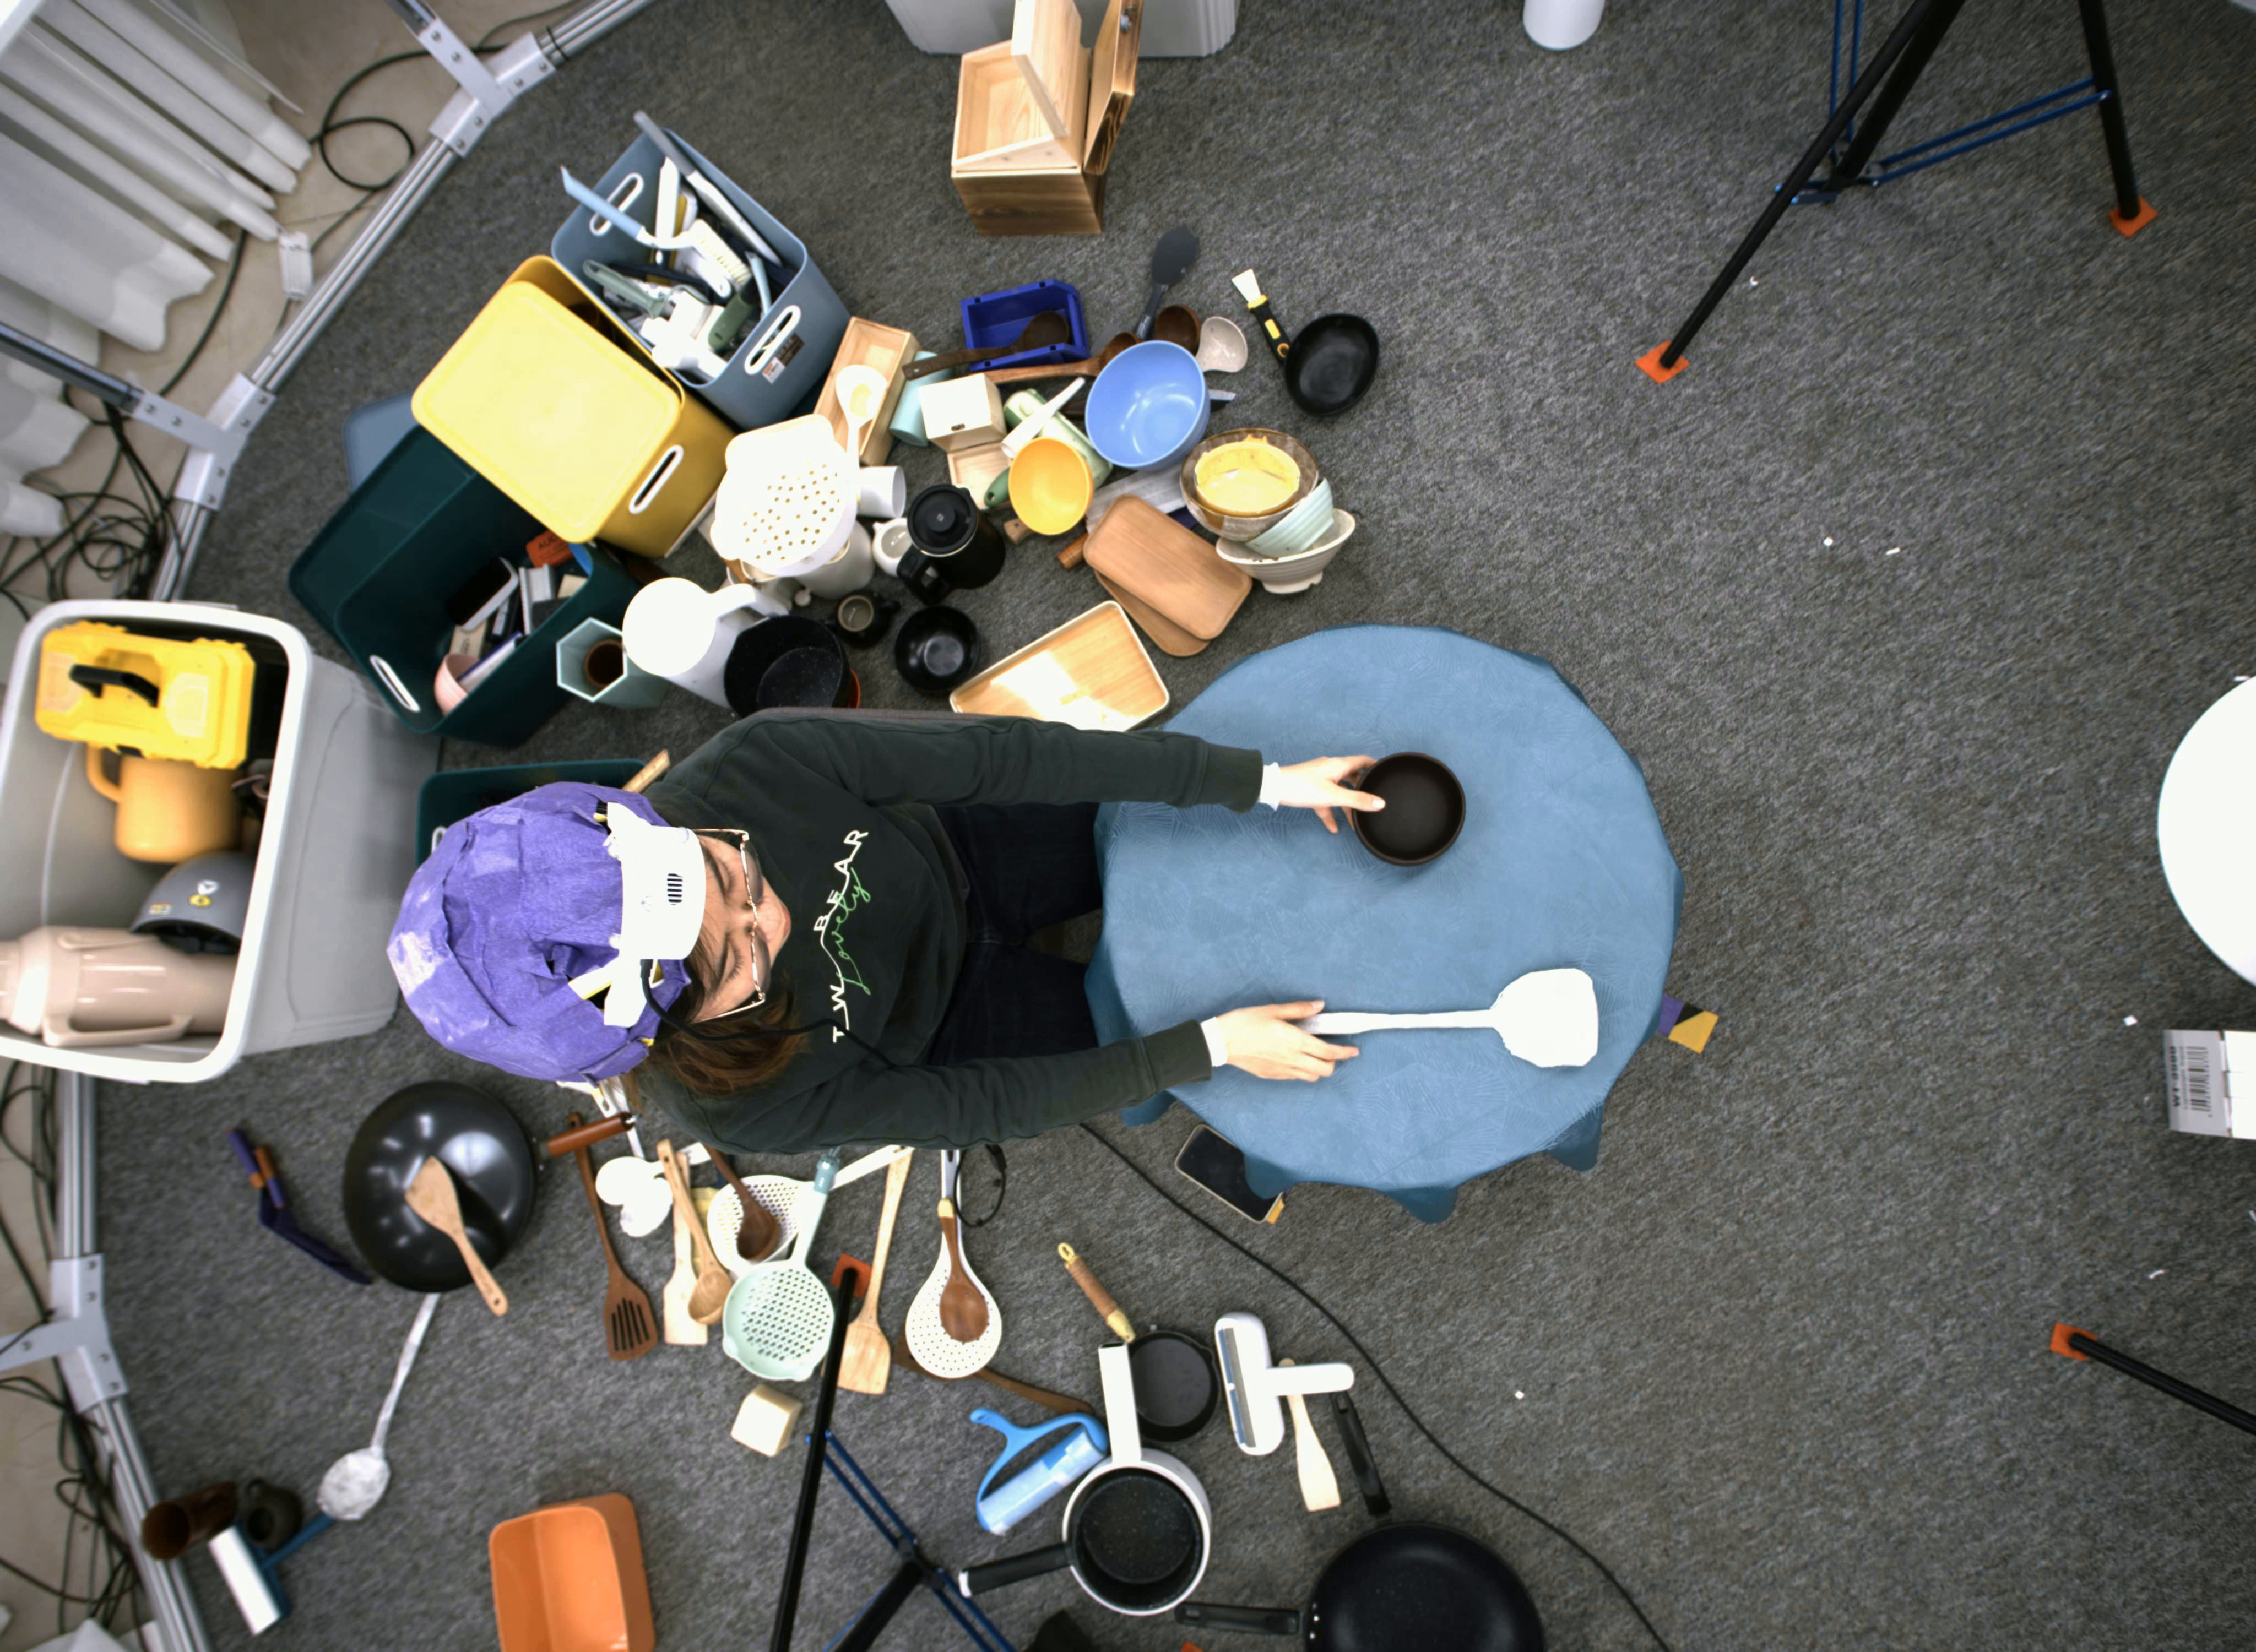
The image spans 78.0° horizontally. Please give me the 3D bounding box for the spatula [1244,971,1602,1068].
[{"bbox_3d":[0.300,0.199,1.431,0.366,0.045,0.098,-2,87,10],"label":"spatula"}]

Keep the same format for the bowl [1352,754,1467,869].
[{"bbox_3d":[0.292,-0.014,1.430,0.118,0.070,0.117,-1,84,11],"label":"bowl"}]
